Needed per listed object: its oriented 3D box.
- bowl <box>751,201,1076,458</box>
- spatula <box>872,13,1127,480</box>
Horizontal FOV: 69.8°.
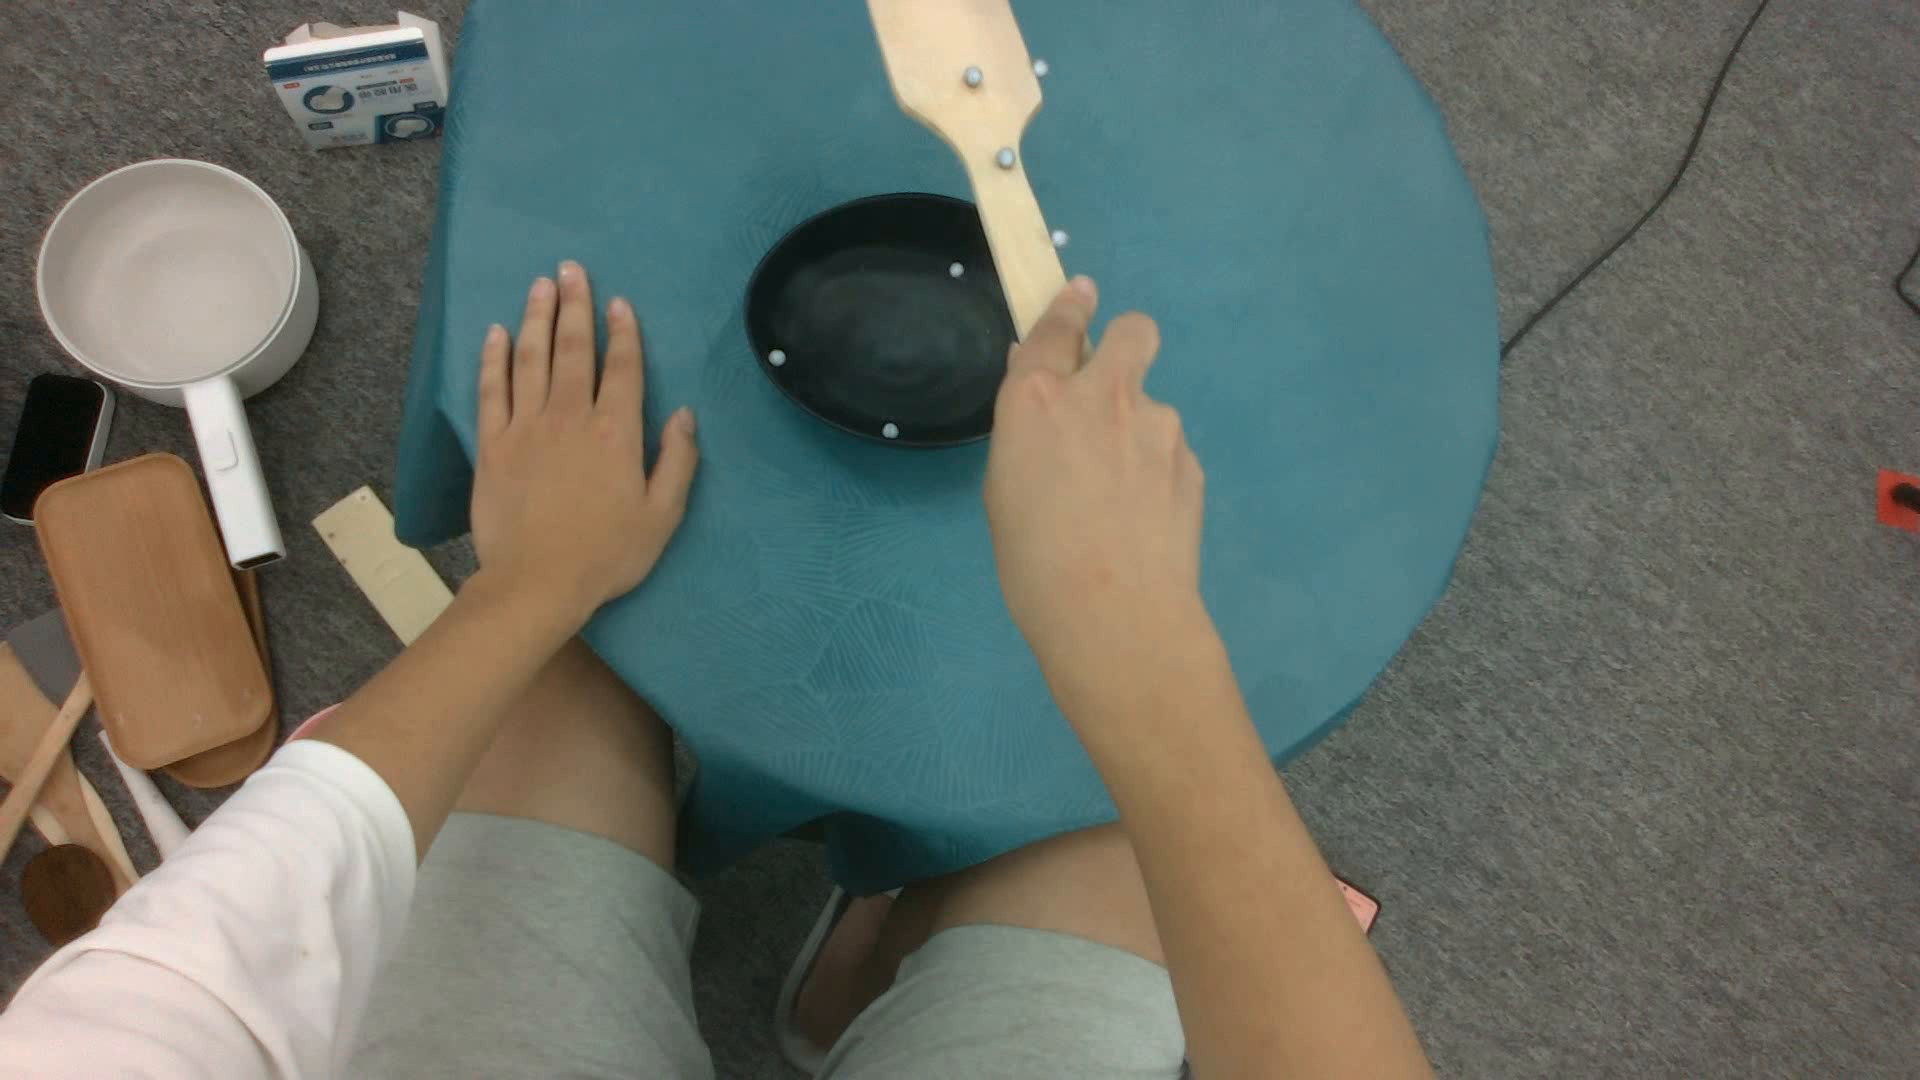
[{"bbox_3d":[-0.026,-0.105,0.739,0.170,0.066,0.137,1,79,-7],"label":"bowl"},{"bbox_3d":[0.022,-0.142,0.608,0.072,0.010,0.294,-6,56,-14],"label":"spatula"}]
